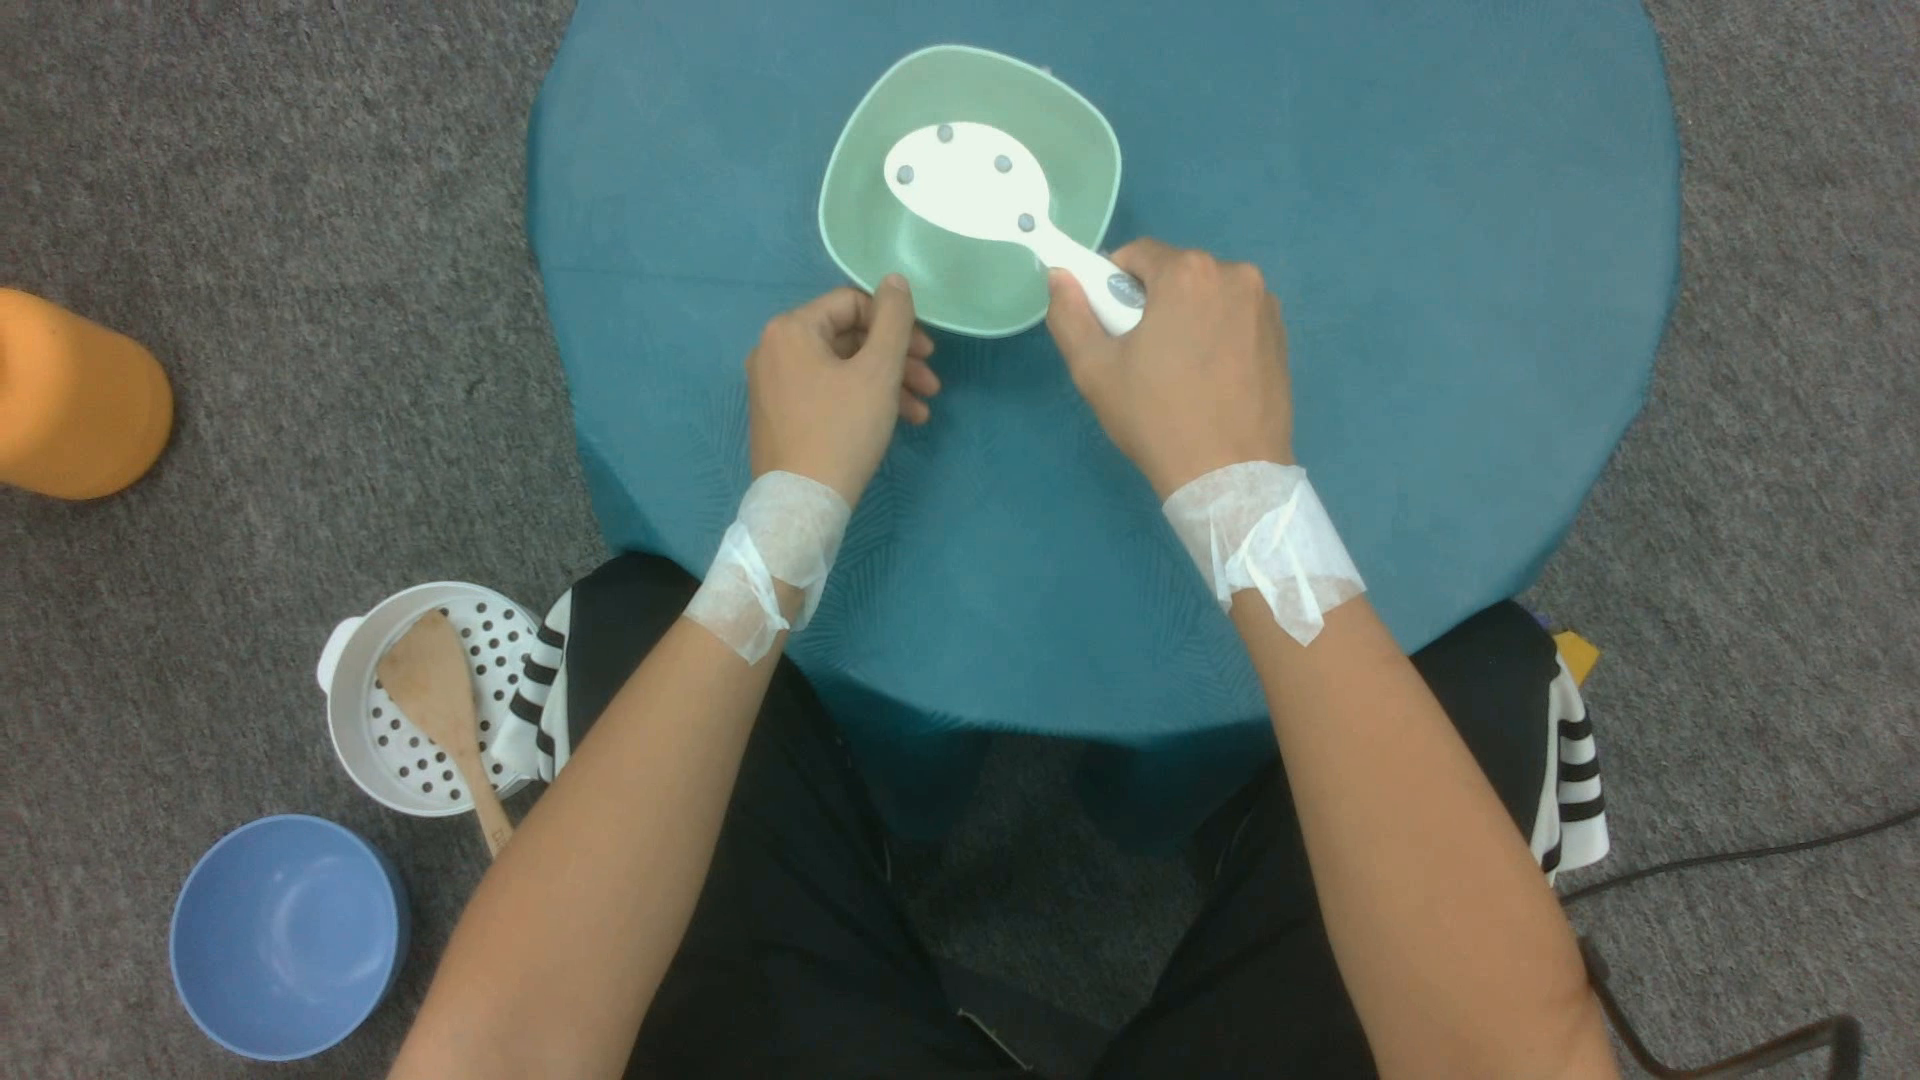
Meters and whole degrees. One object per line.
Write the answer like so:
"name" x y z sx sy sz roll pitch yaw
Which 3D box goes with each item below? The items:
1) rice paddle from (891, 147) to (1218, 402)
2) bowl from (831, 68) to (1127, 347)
"rice paddle" 0.039 -0.135 0.648 0.069 0.029 0.205 -33 57 -19
"bowl" 0.011 -0.162 0.710 0.151 0.058 0.151 0 78 2
